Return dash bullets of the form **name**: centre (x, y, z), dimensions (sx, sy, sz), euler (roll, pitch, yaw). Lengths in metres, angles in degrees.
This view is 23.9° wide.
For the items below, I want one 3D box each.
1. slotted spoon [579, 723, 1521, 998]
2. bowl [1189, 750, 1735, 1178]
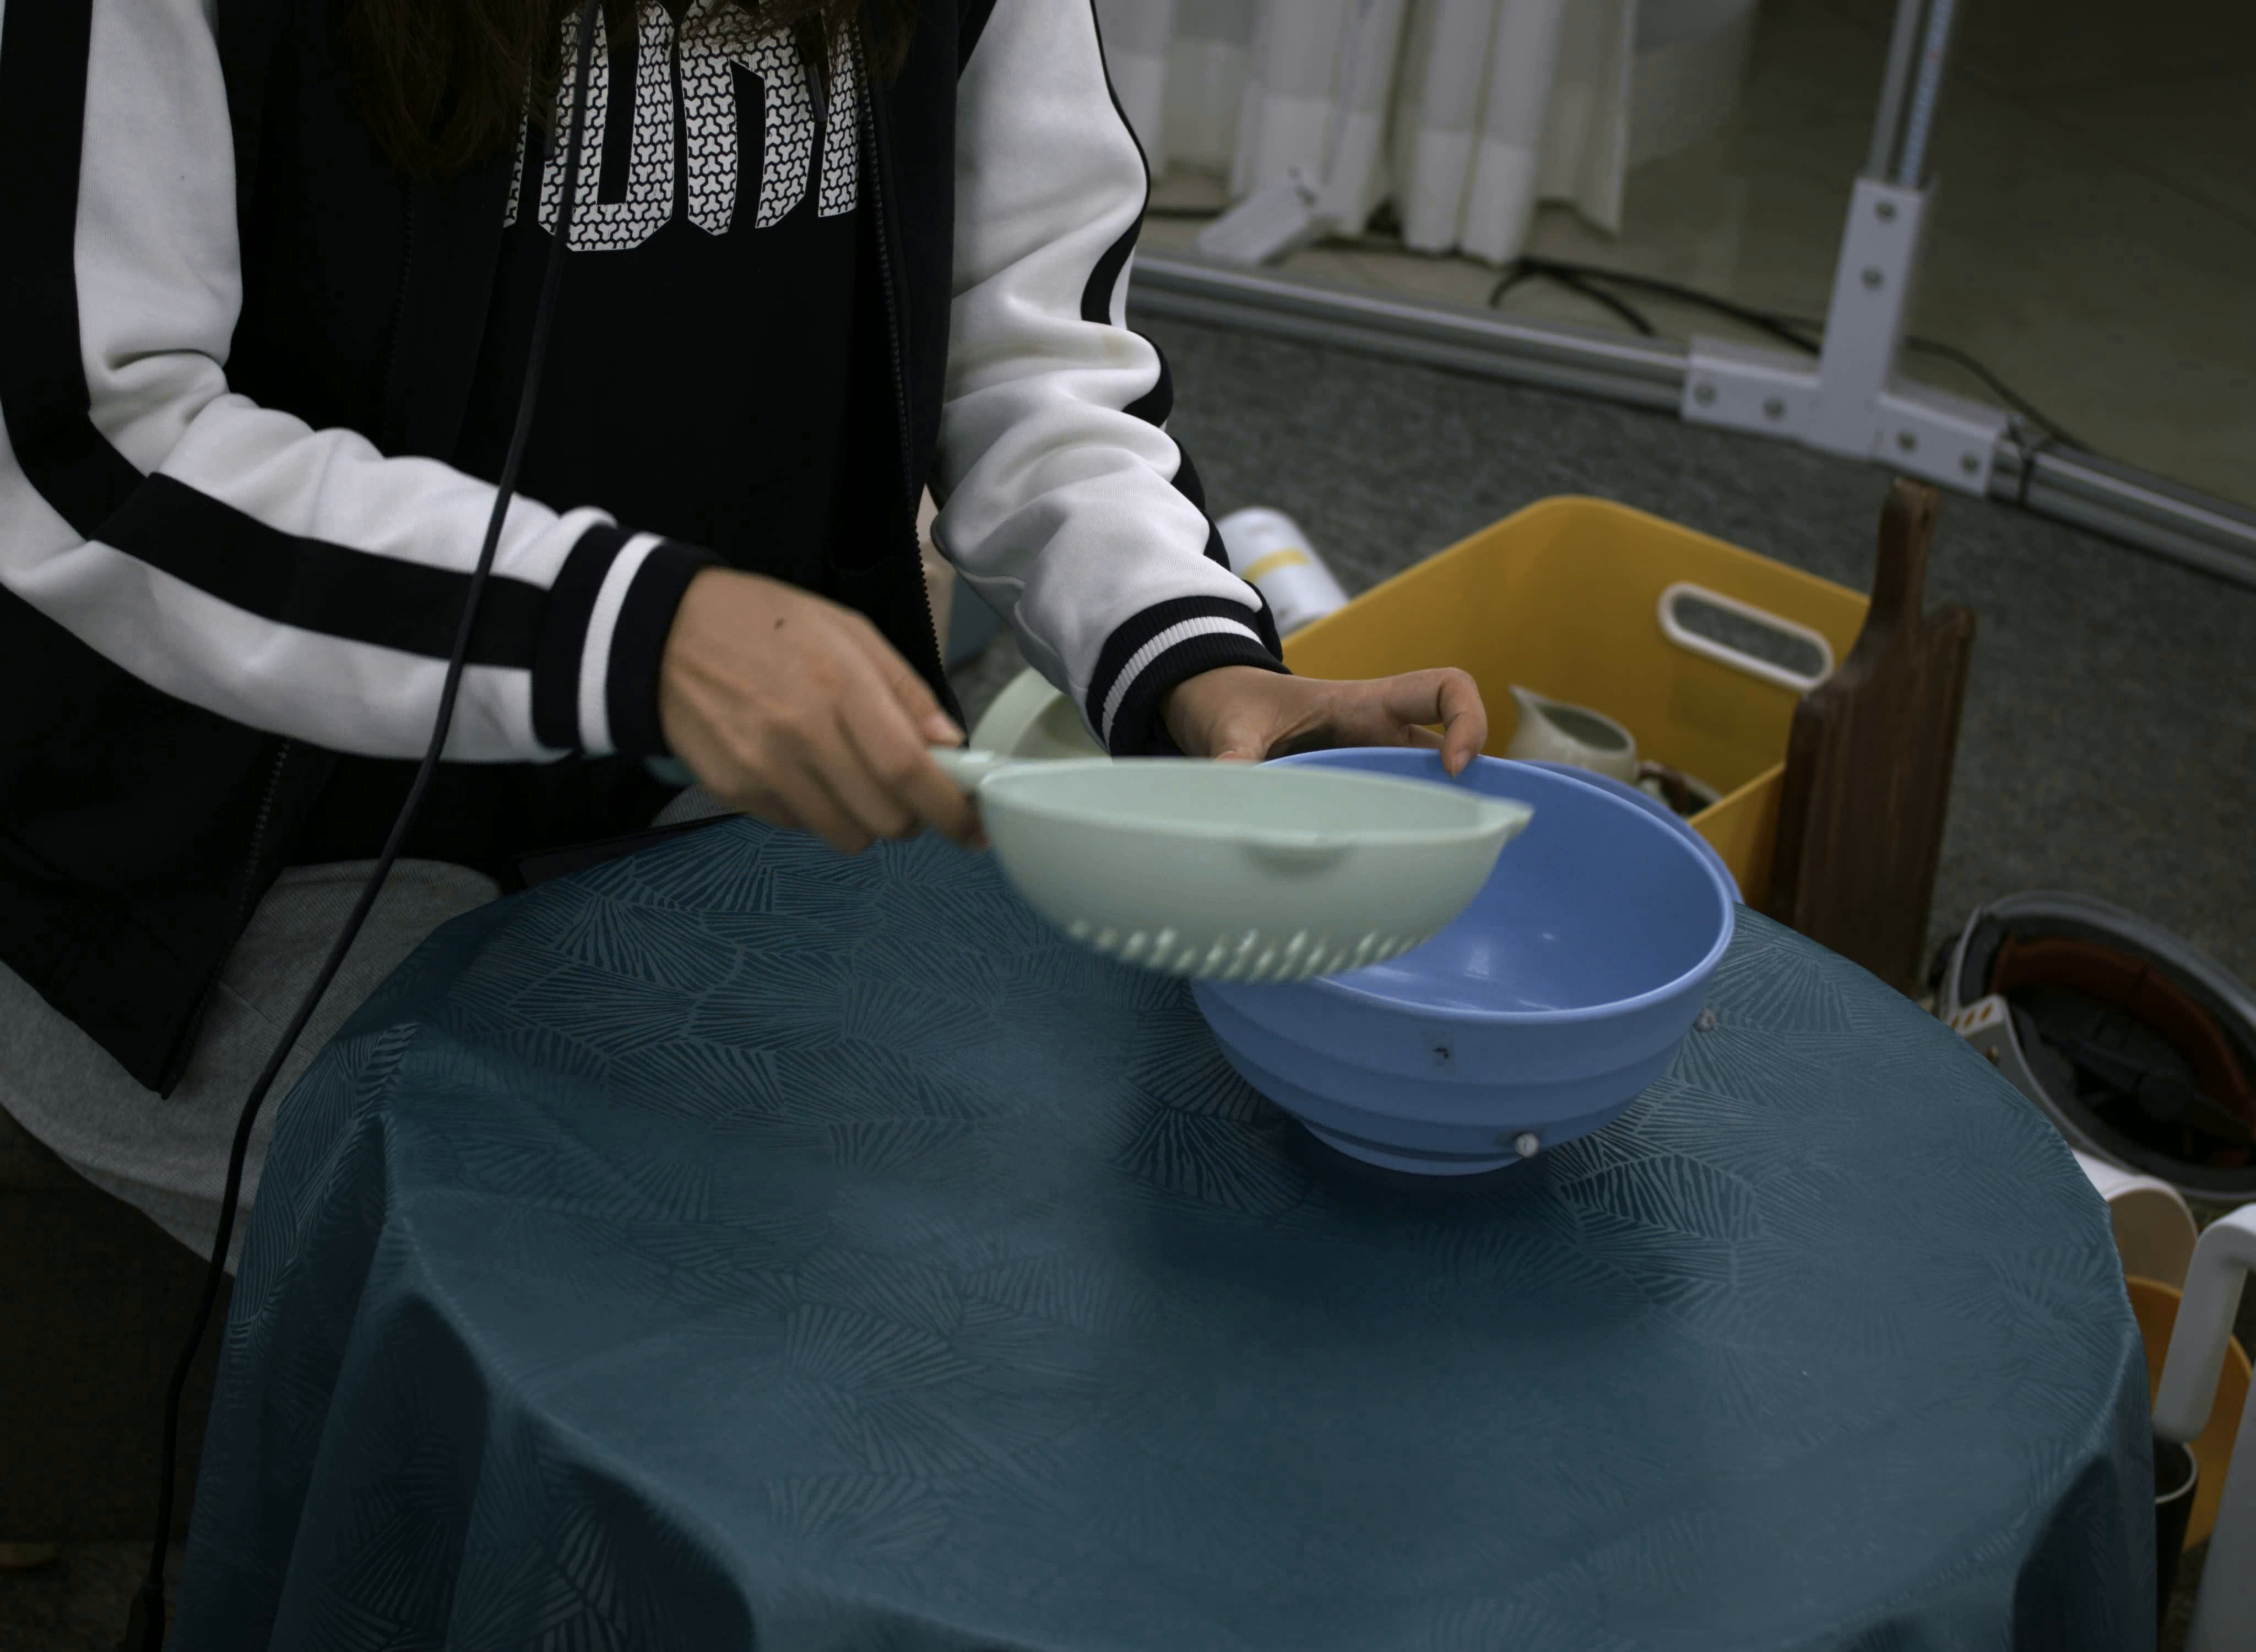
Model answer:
- **slotted spoon**: centre (-0.045, -0.004, 1.746), dimensions (0.361, 0.075, 0.168), euler (18, 14, 36)
- **bowl**: centre (0.107, 0.059, 1.850), dimensions (0.196, 0.095, 0.197), euler (5, 27, -3)
